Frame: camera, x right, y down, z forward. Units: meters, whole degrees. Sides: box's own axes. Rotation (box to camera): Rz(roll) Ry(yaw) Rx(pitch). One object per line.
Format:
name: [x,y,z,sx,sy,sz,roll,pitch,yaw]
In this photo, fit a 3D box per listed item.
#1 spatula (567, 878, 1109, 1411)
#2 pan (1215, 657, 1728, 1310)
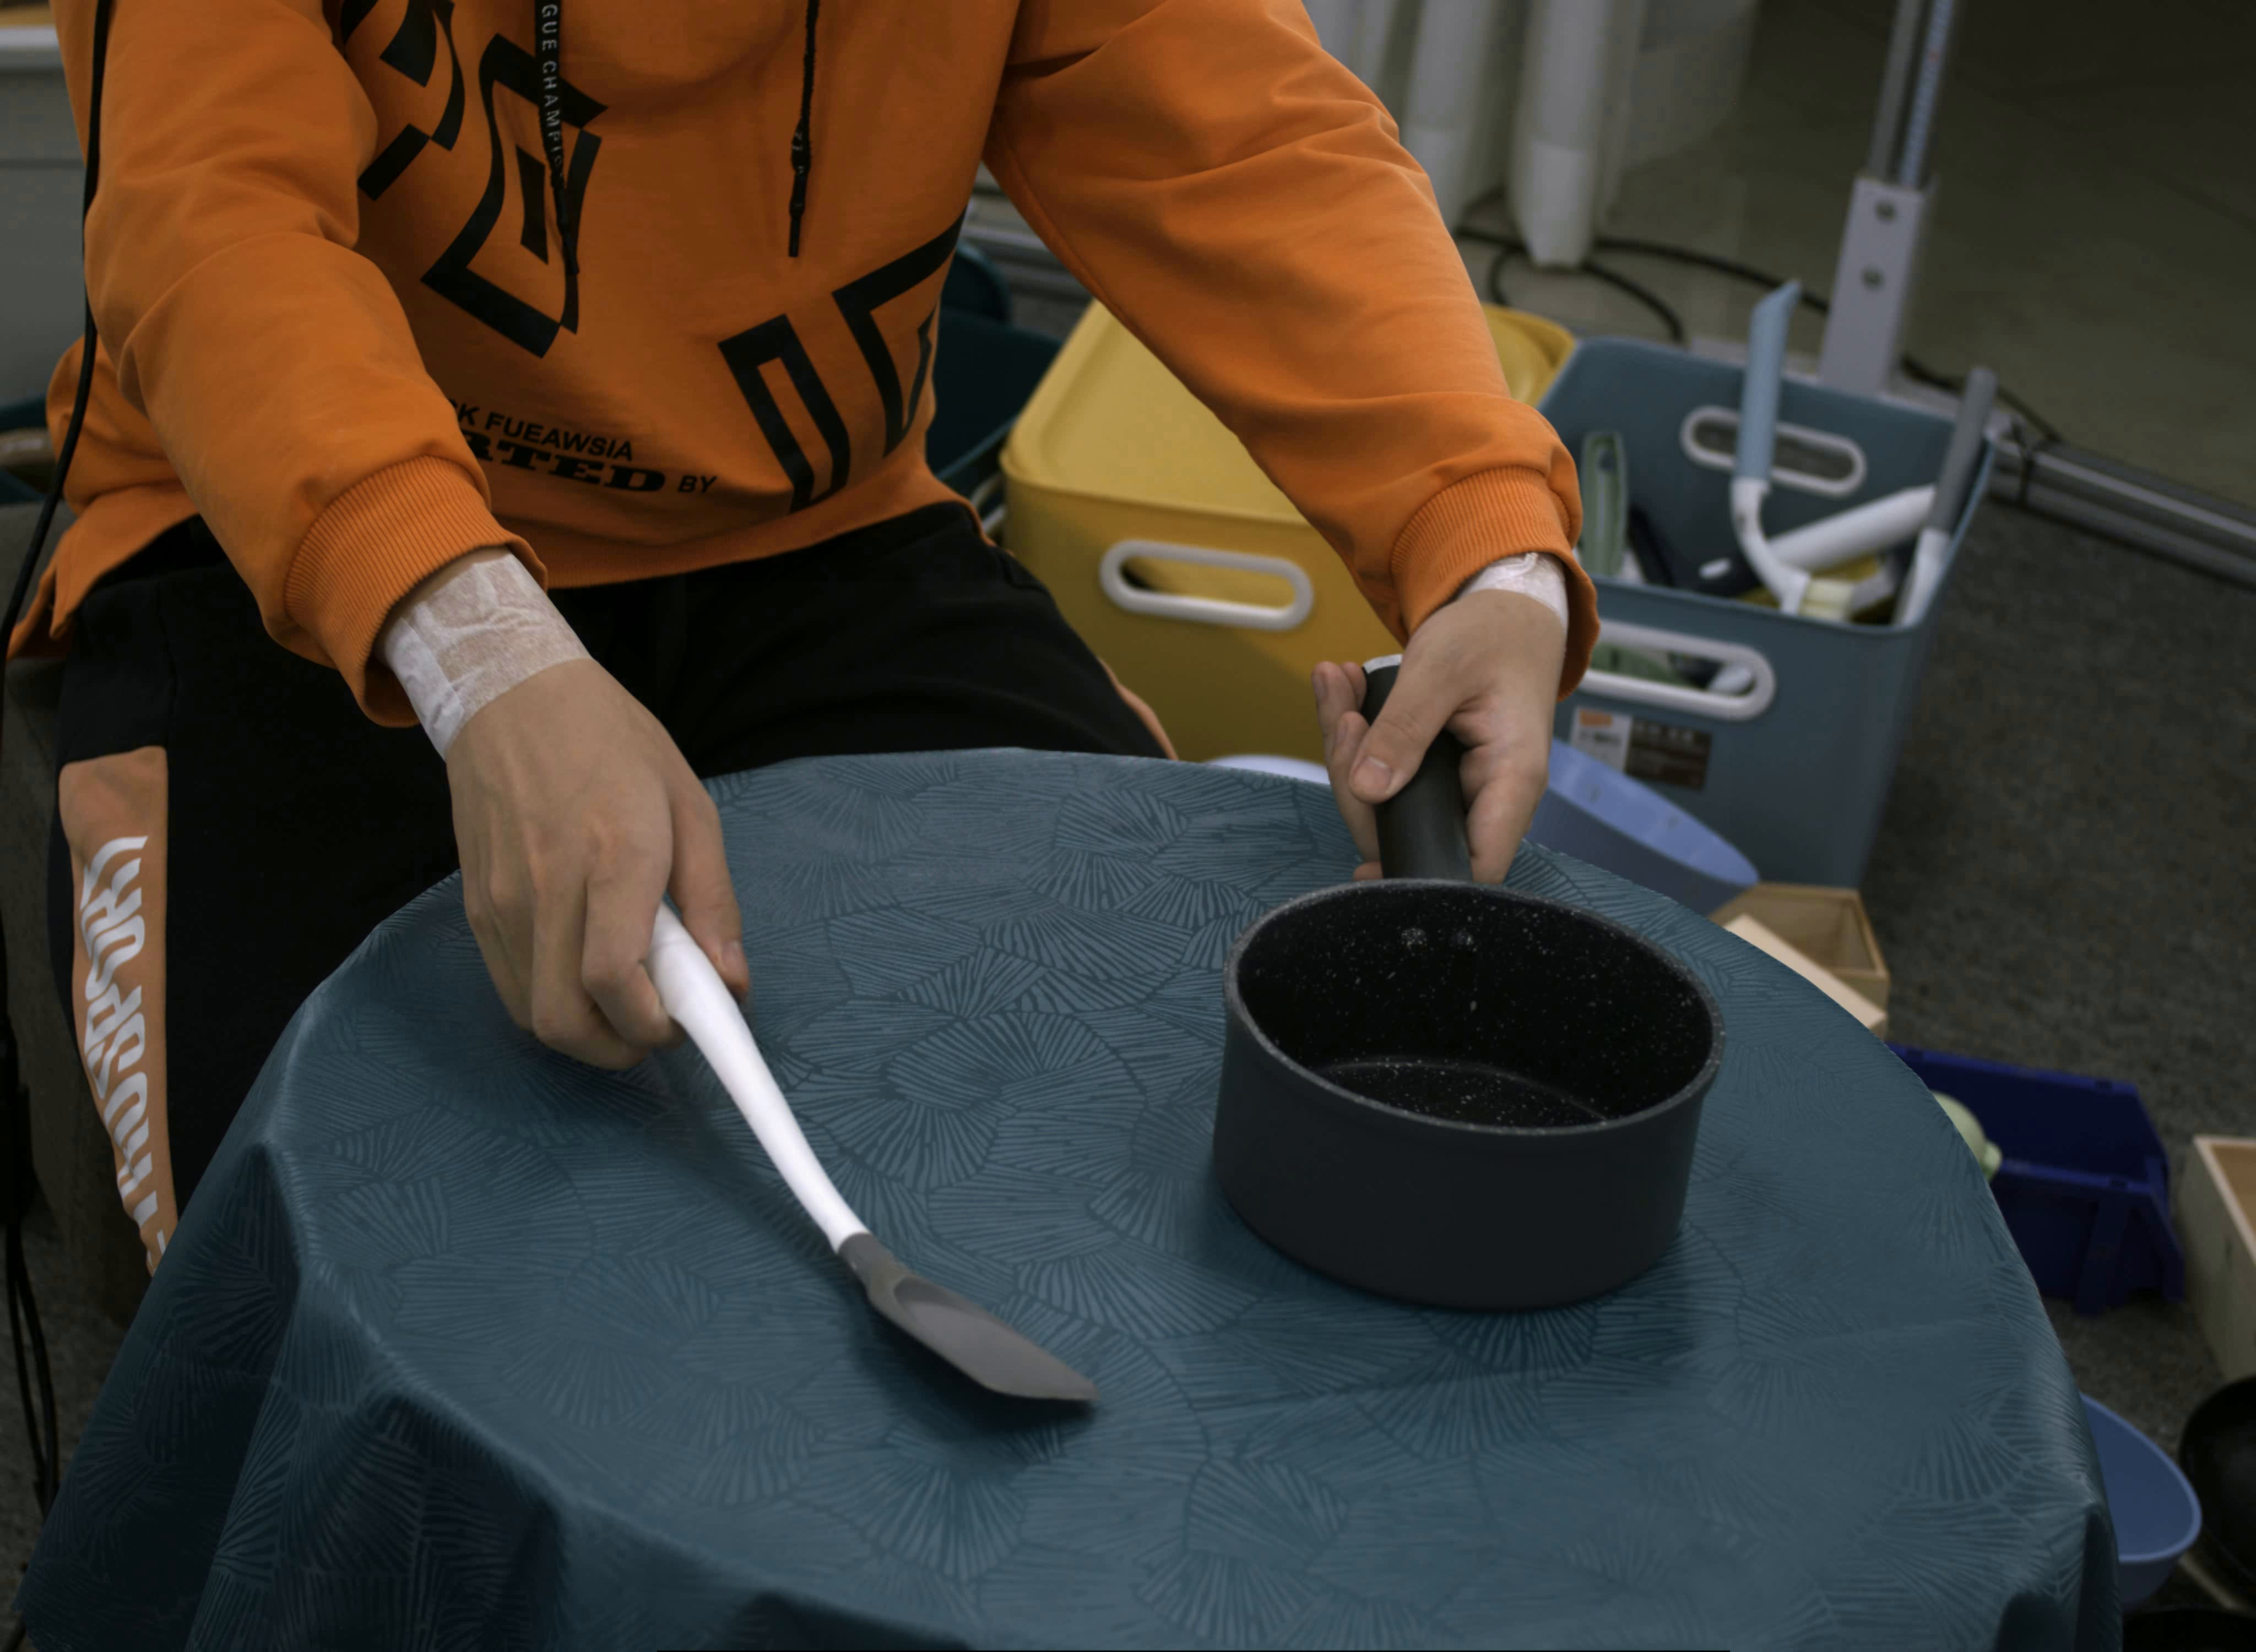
spatula: [-0.103,0.109,1.751,0.058,0.032,0.290,13,24,-45]
pan: [0.112,0.051,1.876,0.171,0.086,0.331,6,29,-4]
